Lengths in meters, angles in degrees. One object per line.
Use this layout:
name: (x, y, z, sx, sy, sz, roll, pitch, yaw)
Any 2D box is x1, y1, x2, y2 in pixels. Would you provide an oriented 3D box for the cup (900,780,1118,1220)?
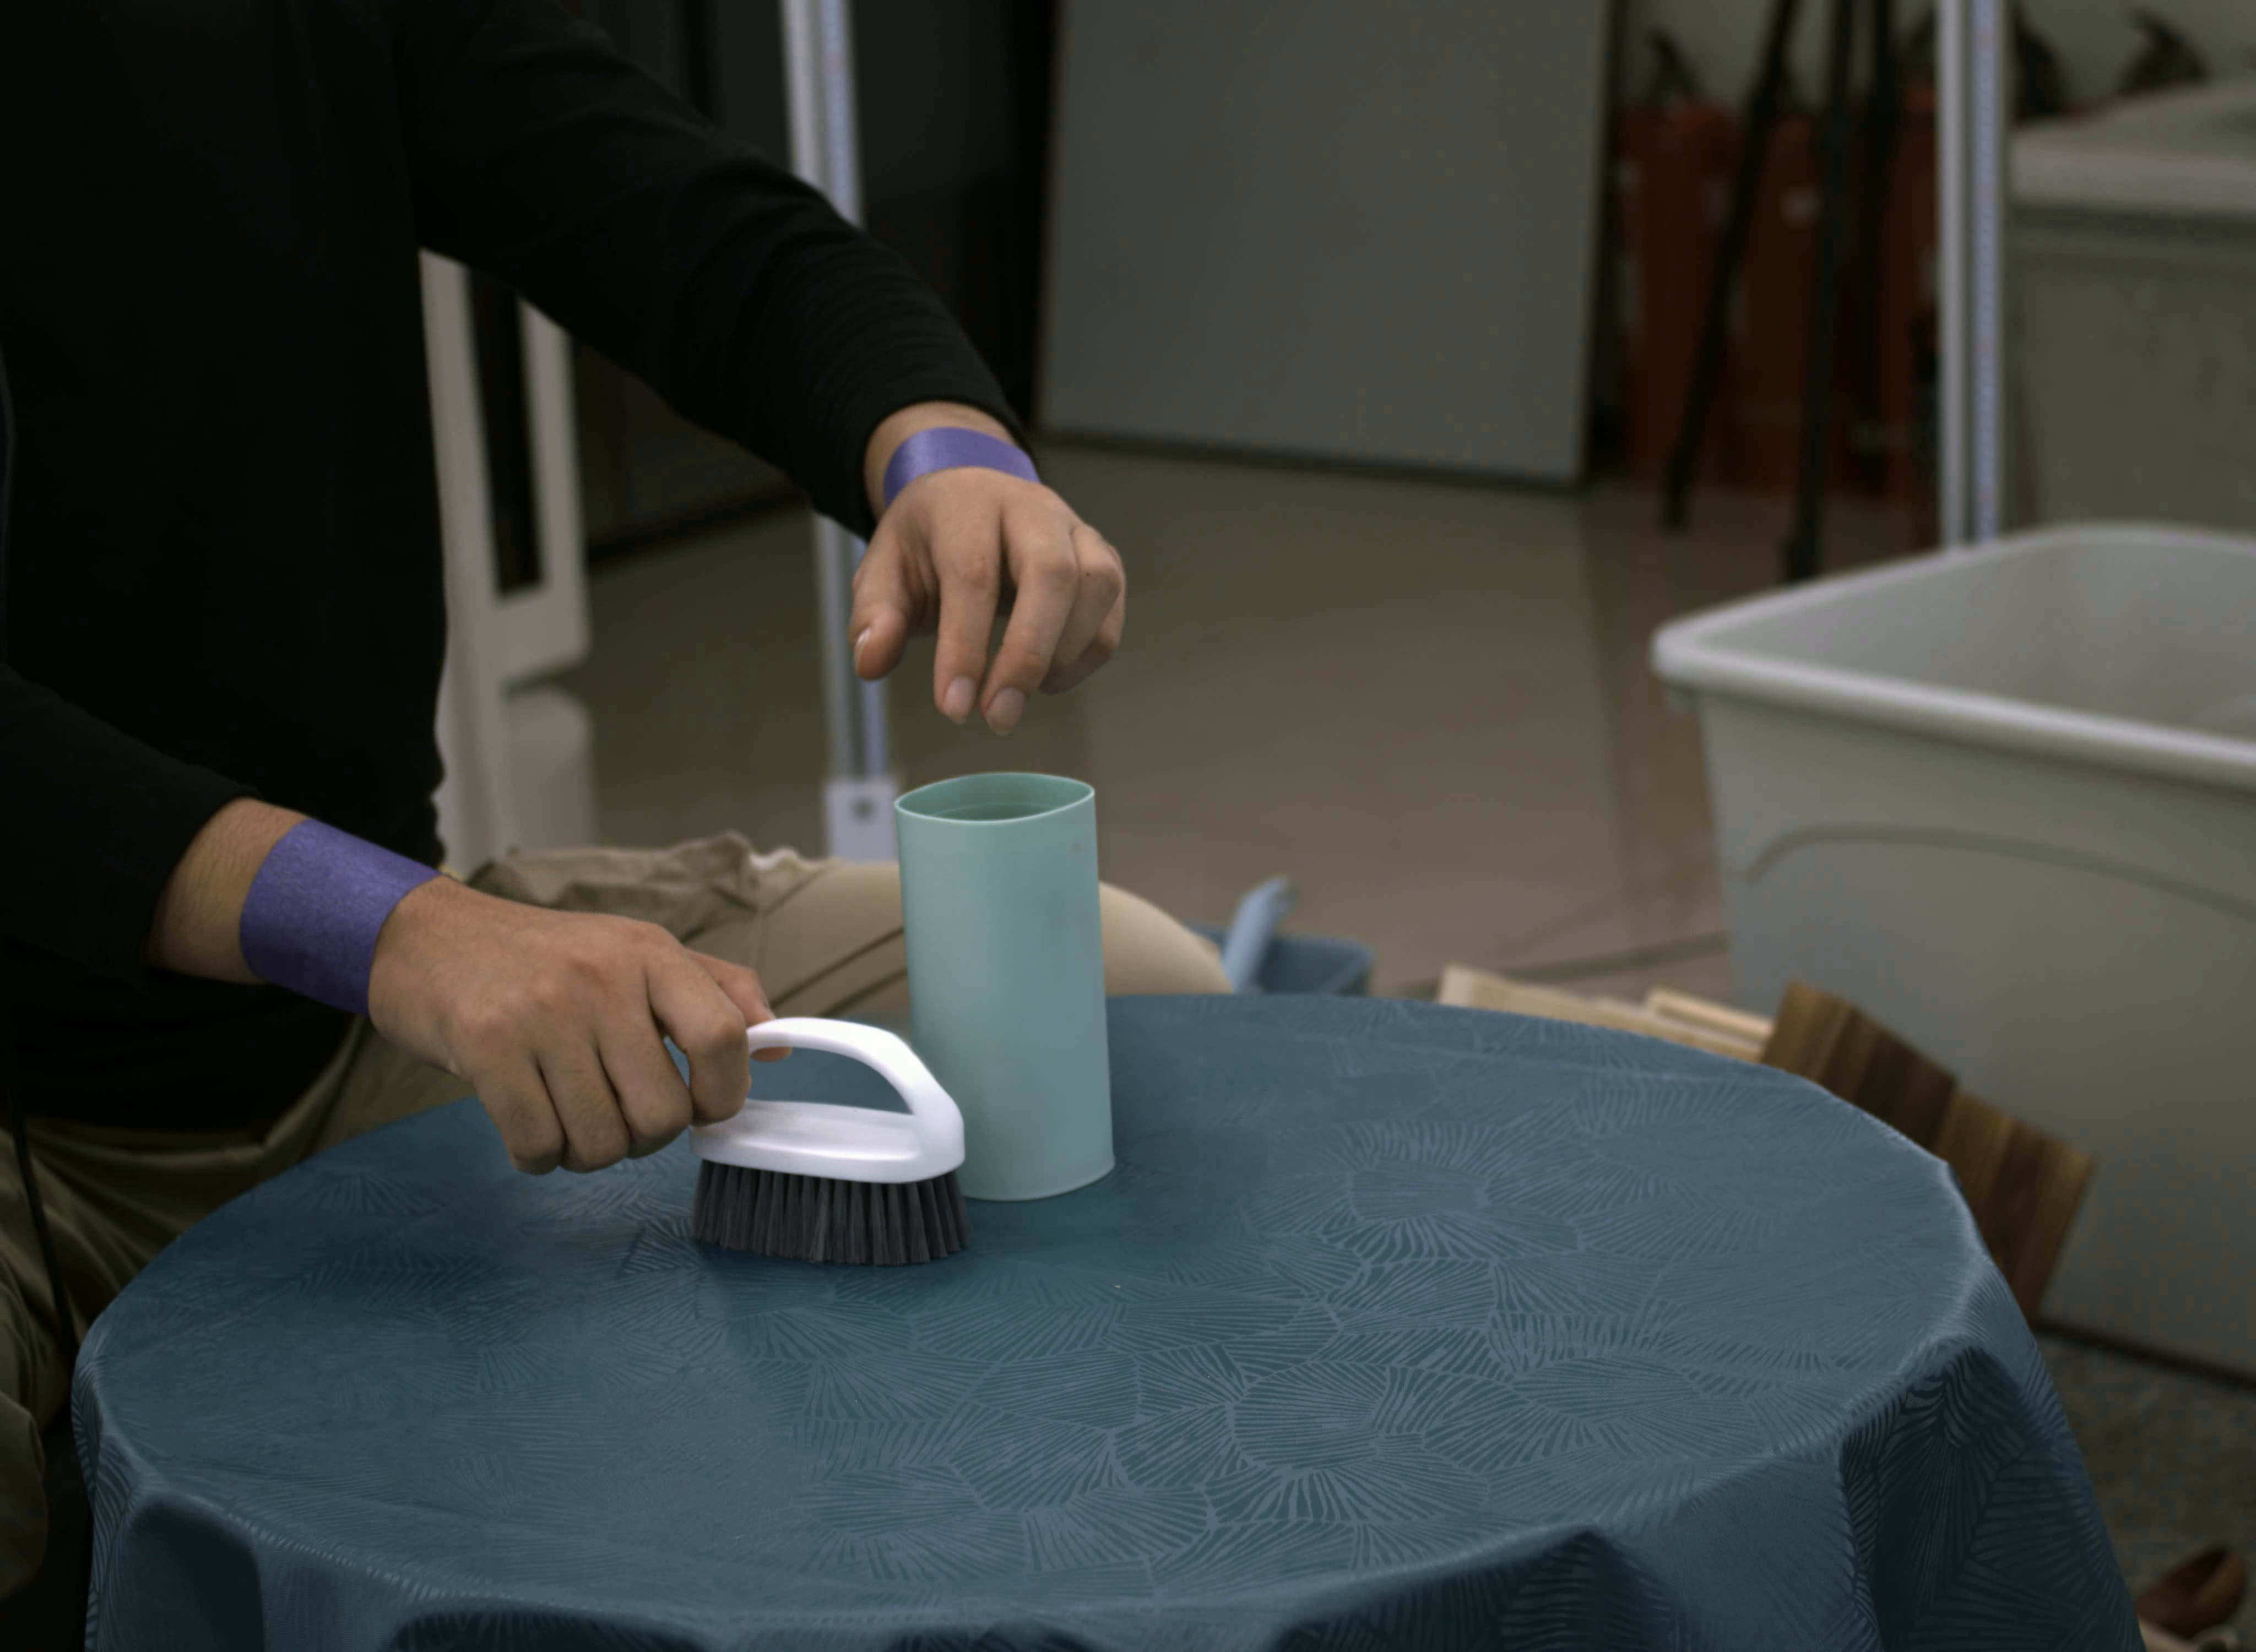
cup: (-0.039, 0.057, 1.782, 0.066, 0.134, 0.067, -3, 14, 0)

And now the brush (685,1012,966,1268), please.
brush: (-0.098, 0.097, 1.735, 0.099, 0.073, 0.049, 7, 15, 32)
